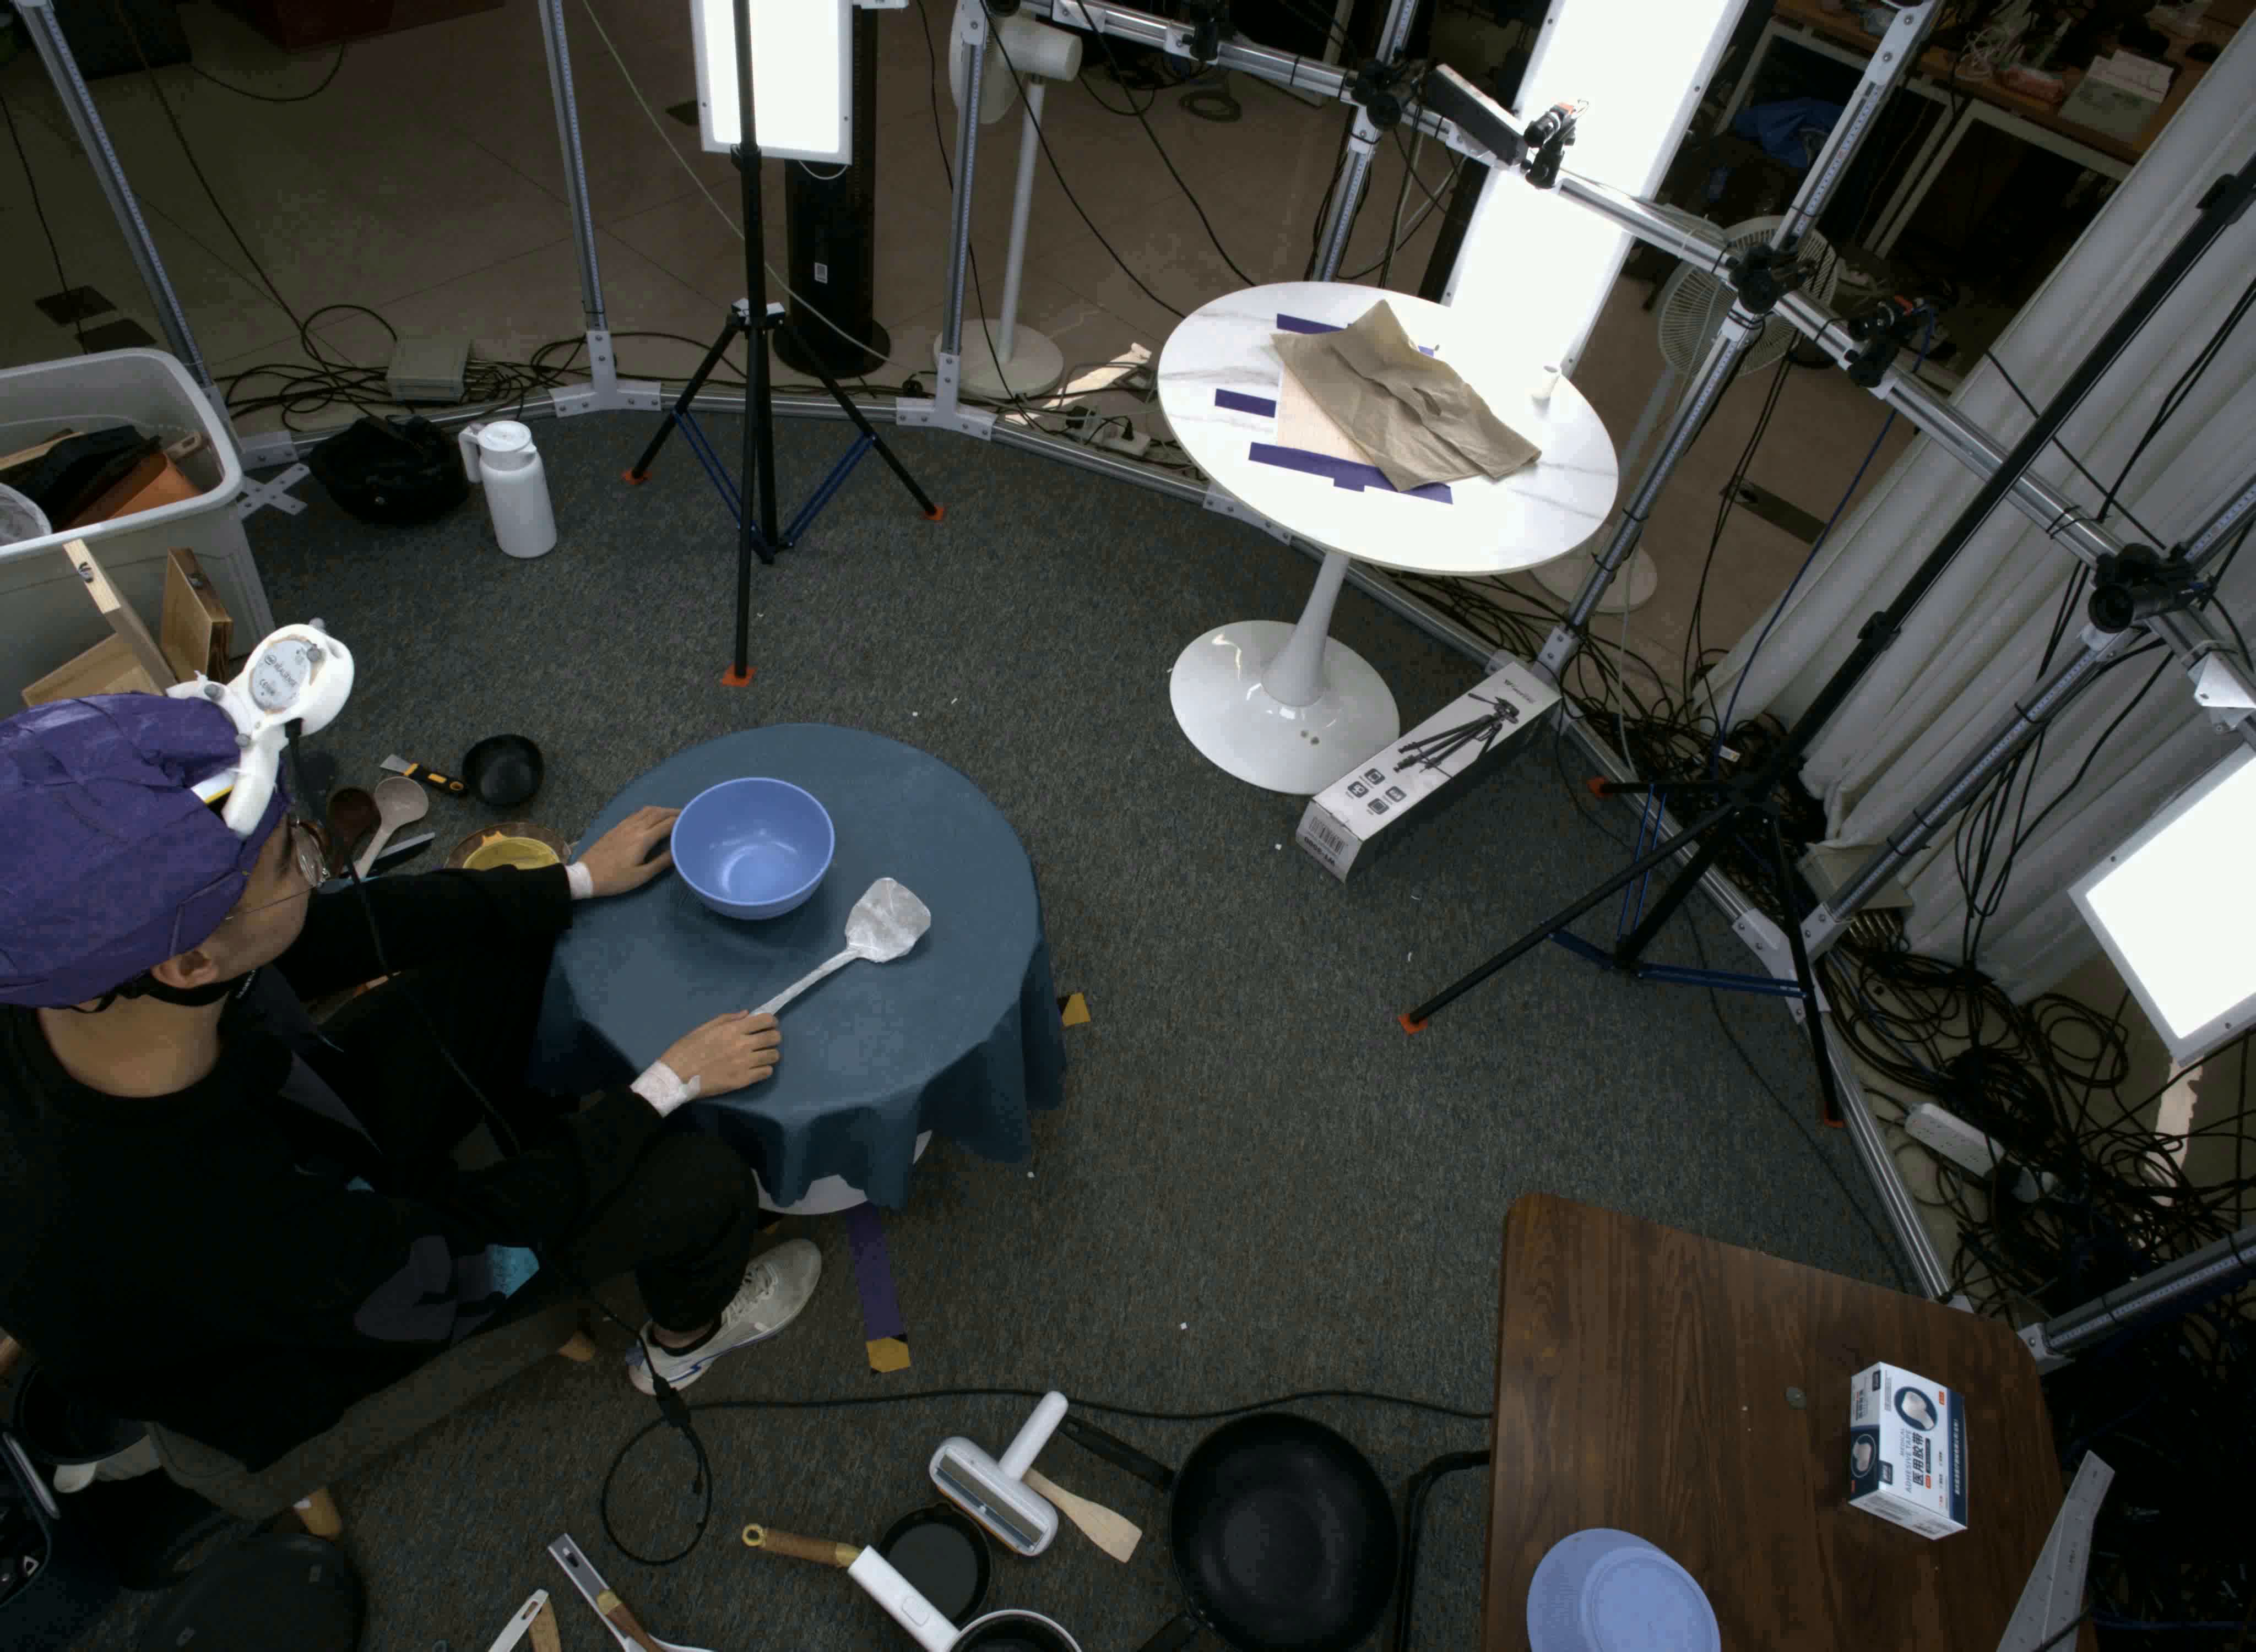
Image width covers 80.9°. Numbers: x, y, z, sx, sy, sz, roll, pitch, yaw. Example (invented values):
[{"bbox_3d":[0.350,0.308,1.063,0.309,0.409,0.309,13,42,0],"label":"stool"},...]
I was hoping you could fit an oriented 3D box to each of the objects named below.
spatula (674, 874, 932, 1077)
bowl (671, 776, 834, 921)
[{"bbox_3d":[-0.396,0.186,1.573,0.097,0.045,0.365,42,55,15],"label":"spatula"},{"bbox_3d":[-0.468,0.042,1.625,0.196,0.097,0.193,8,53,-9],"label":"bowl"}]
